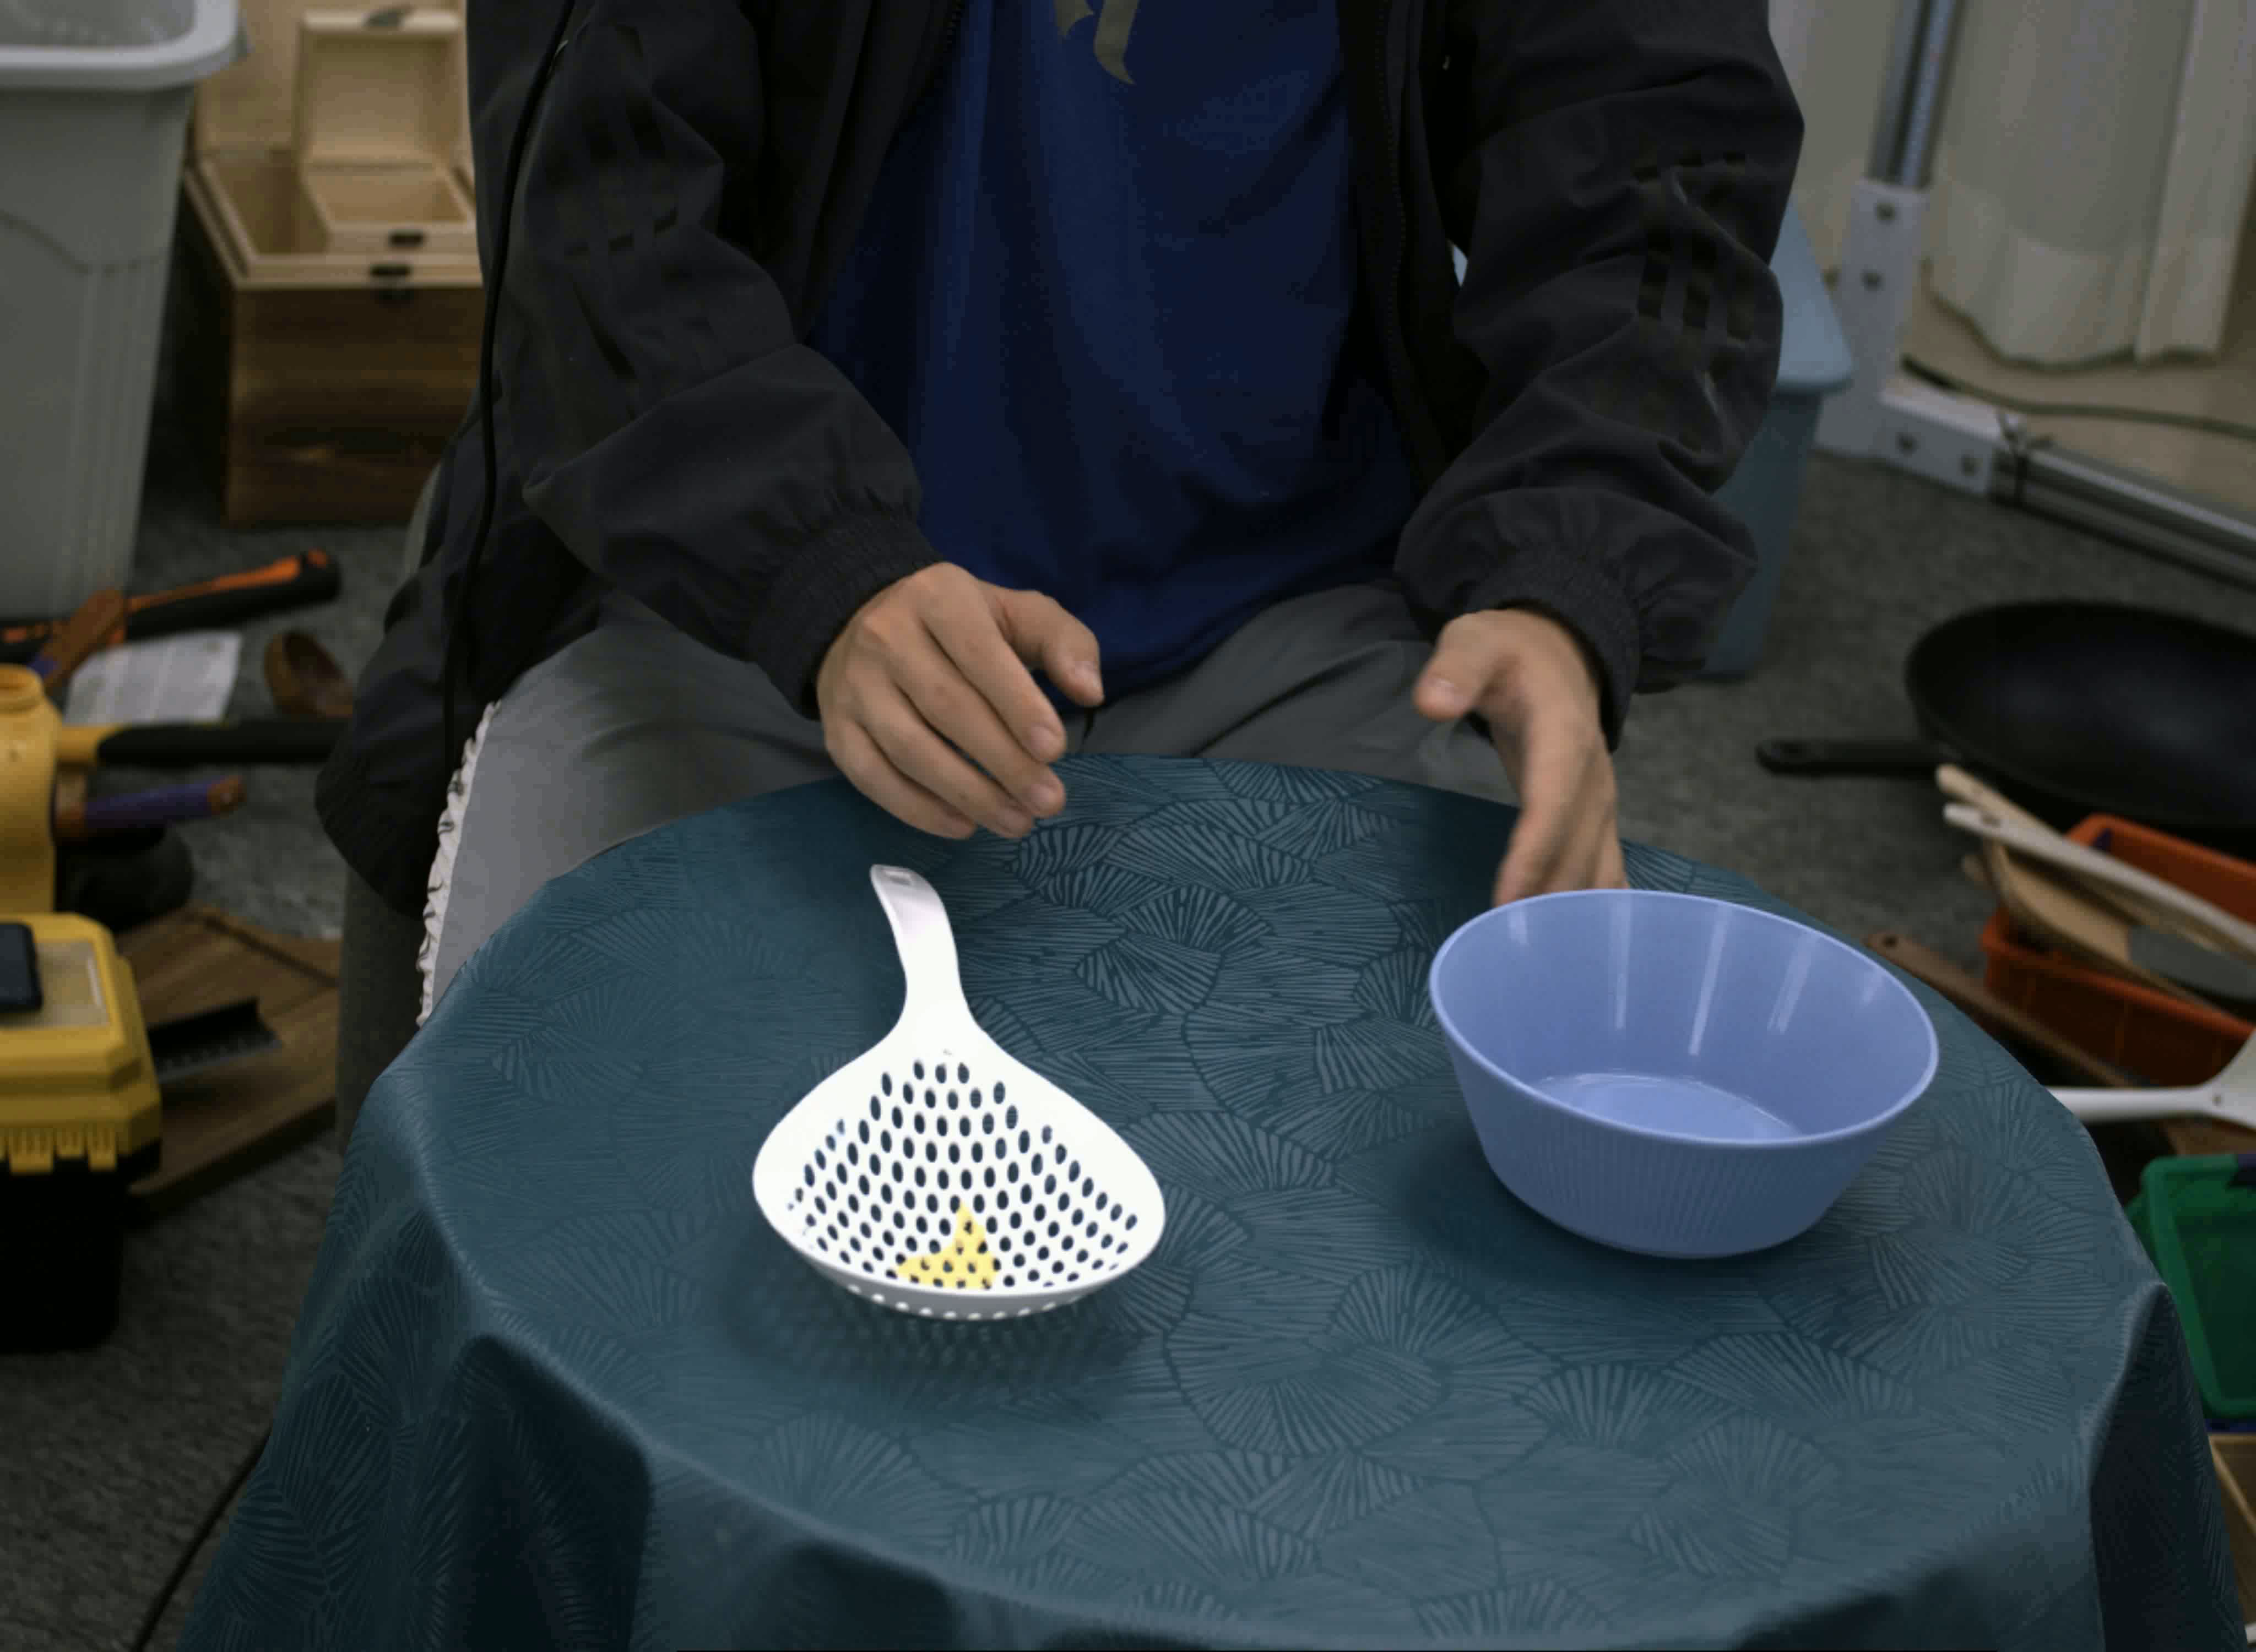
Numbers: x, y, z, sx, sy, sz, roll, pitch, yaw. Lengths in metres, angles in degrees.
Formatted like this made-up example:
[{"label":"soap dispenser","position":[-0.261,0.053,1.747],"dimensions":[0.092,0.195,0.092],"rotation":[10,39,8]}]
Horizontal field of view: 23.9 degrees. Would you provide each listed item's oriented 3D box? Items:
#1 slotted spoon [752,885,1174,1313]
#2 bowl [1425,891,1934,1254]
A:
[{"label":"slotted spoon","position":[-0.067,0.081,1.825],"dimensions":[0.136,0.050,0.350],"rotation":[-1,27,-7]},{"label":"bowl","position":[0.185,0.091,1.833],"dimensions":[0.175,0.070,0.177],"rotation":[5,26,-3]}]
